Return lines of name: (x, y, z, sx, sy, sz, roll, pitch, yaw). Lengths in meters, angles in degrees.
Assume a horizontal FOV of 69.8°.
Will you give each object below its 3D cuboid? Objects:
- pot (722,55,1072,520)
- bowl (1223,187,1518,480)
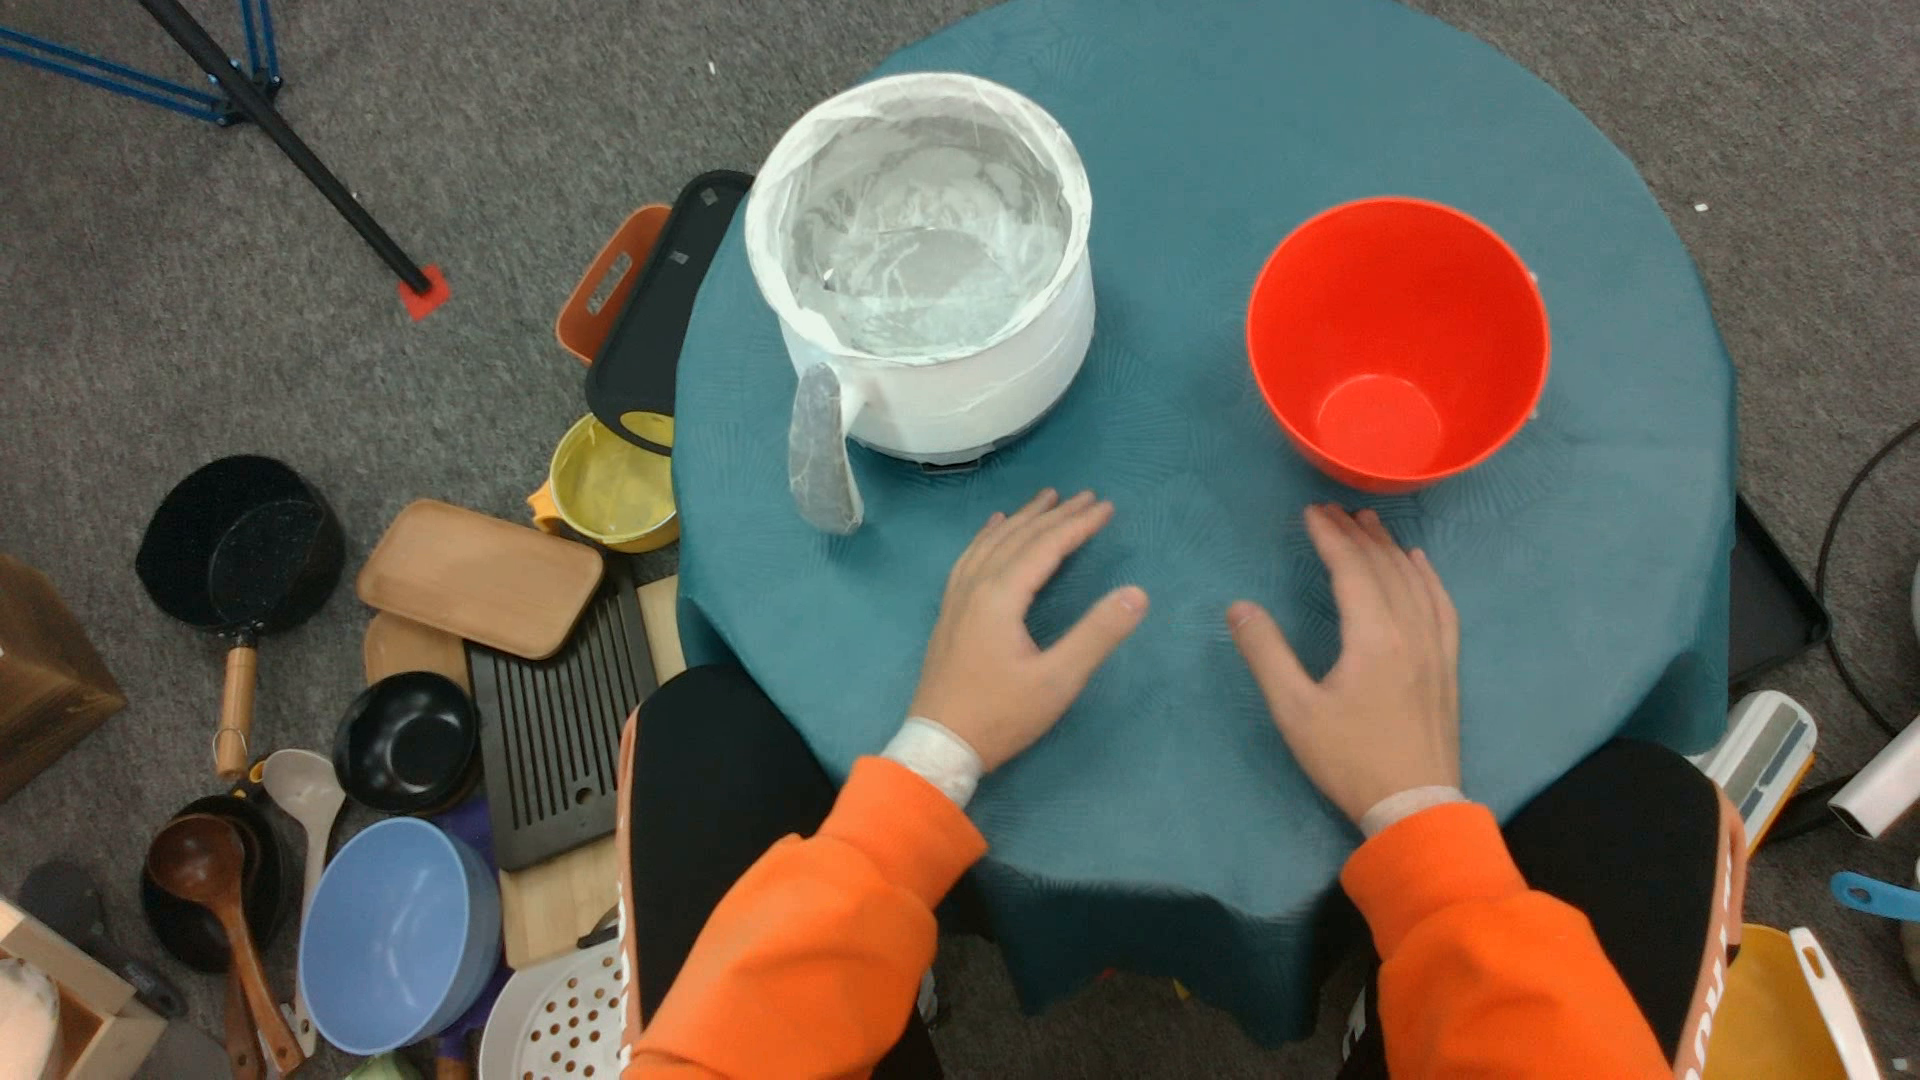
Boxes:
pot: (-0.040, -0.128, 0.747, 0.178, 0.136, 0.234, 21, 72, 14)
bowl: (0.211, -0.096, 0.732, 0.148, 0.104, 0.148, -2, 70, 5)
